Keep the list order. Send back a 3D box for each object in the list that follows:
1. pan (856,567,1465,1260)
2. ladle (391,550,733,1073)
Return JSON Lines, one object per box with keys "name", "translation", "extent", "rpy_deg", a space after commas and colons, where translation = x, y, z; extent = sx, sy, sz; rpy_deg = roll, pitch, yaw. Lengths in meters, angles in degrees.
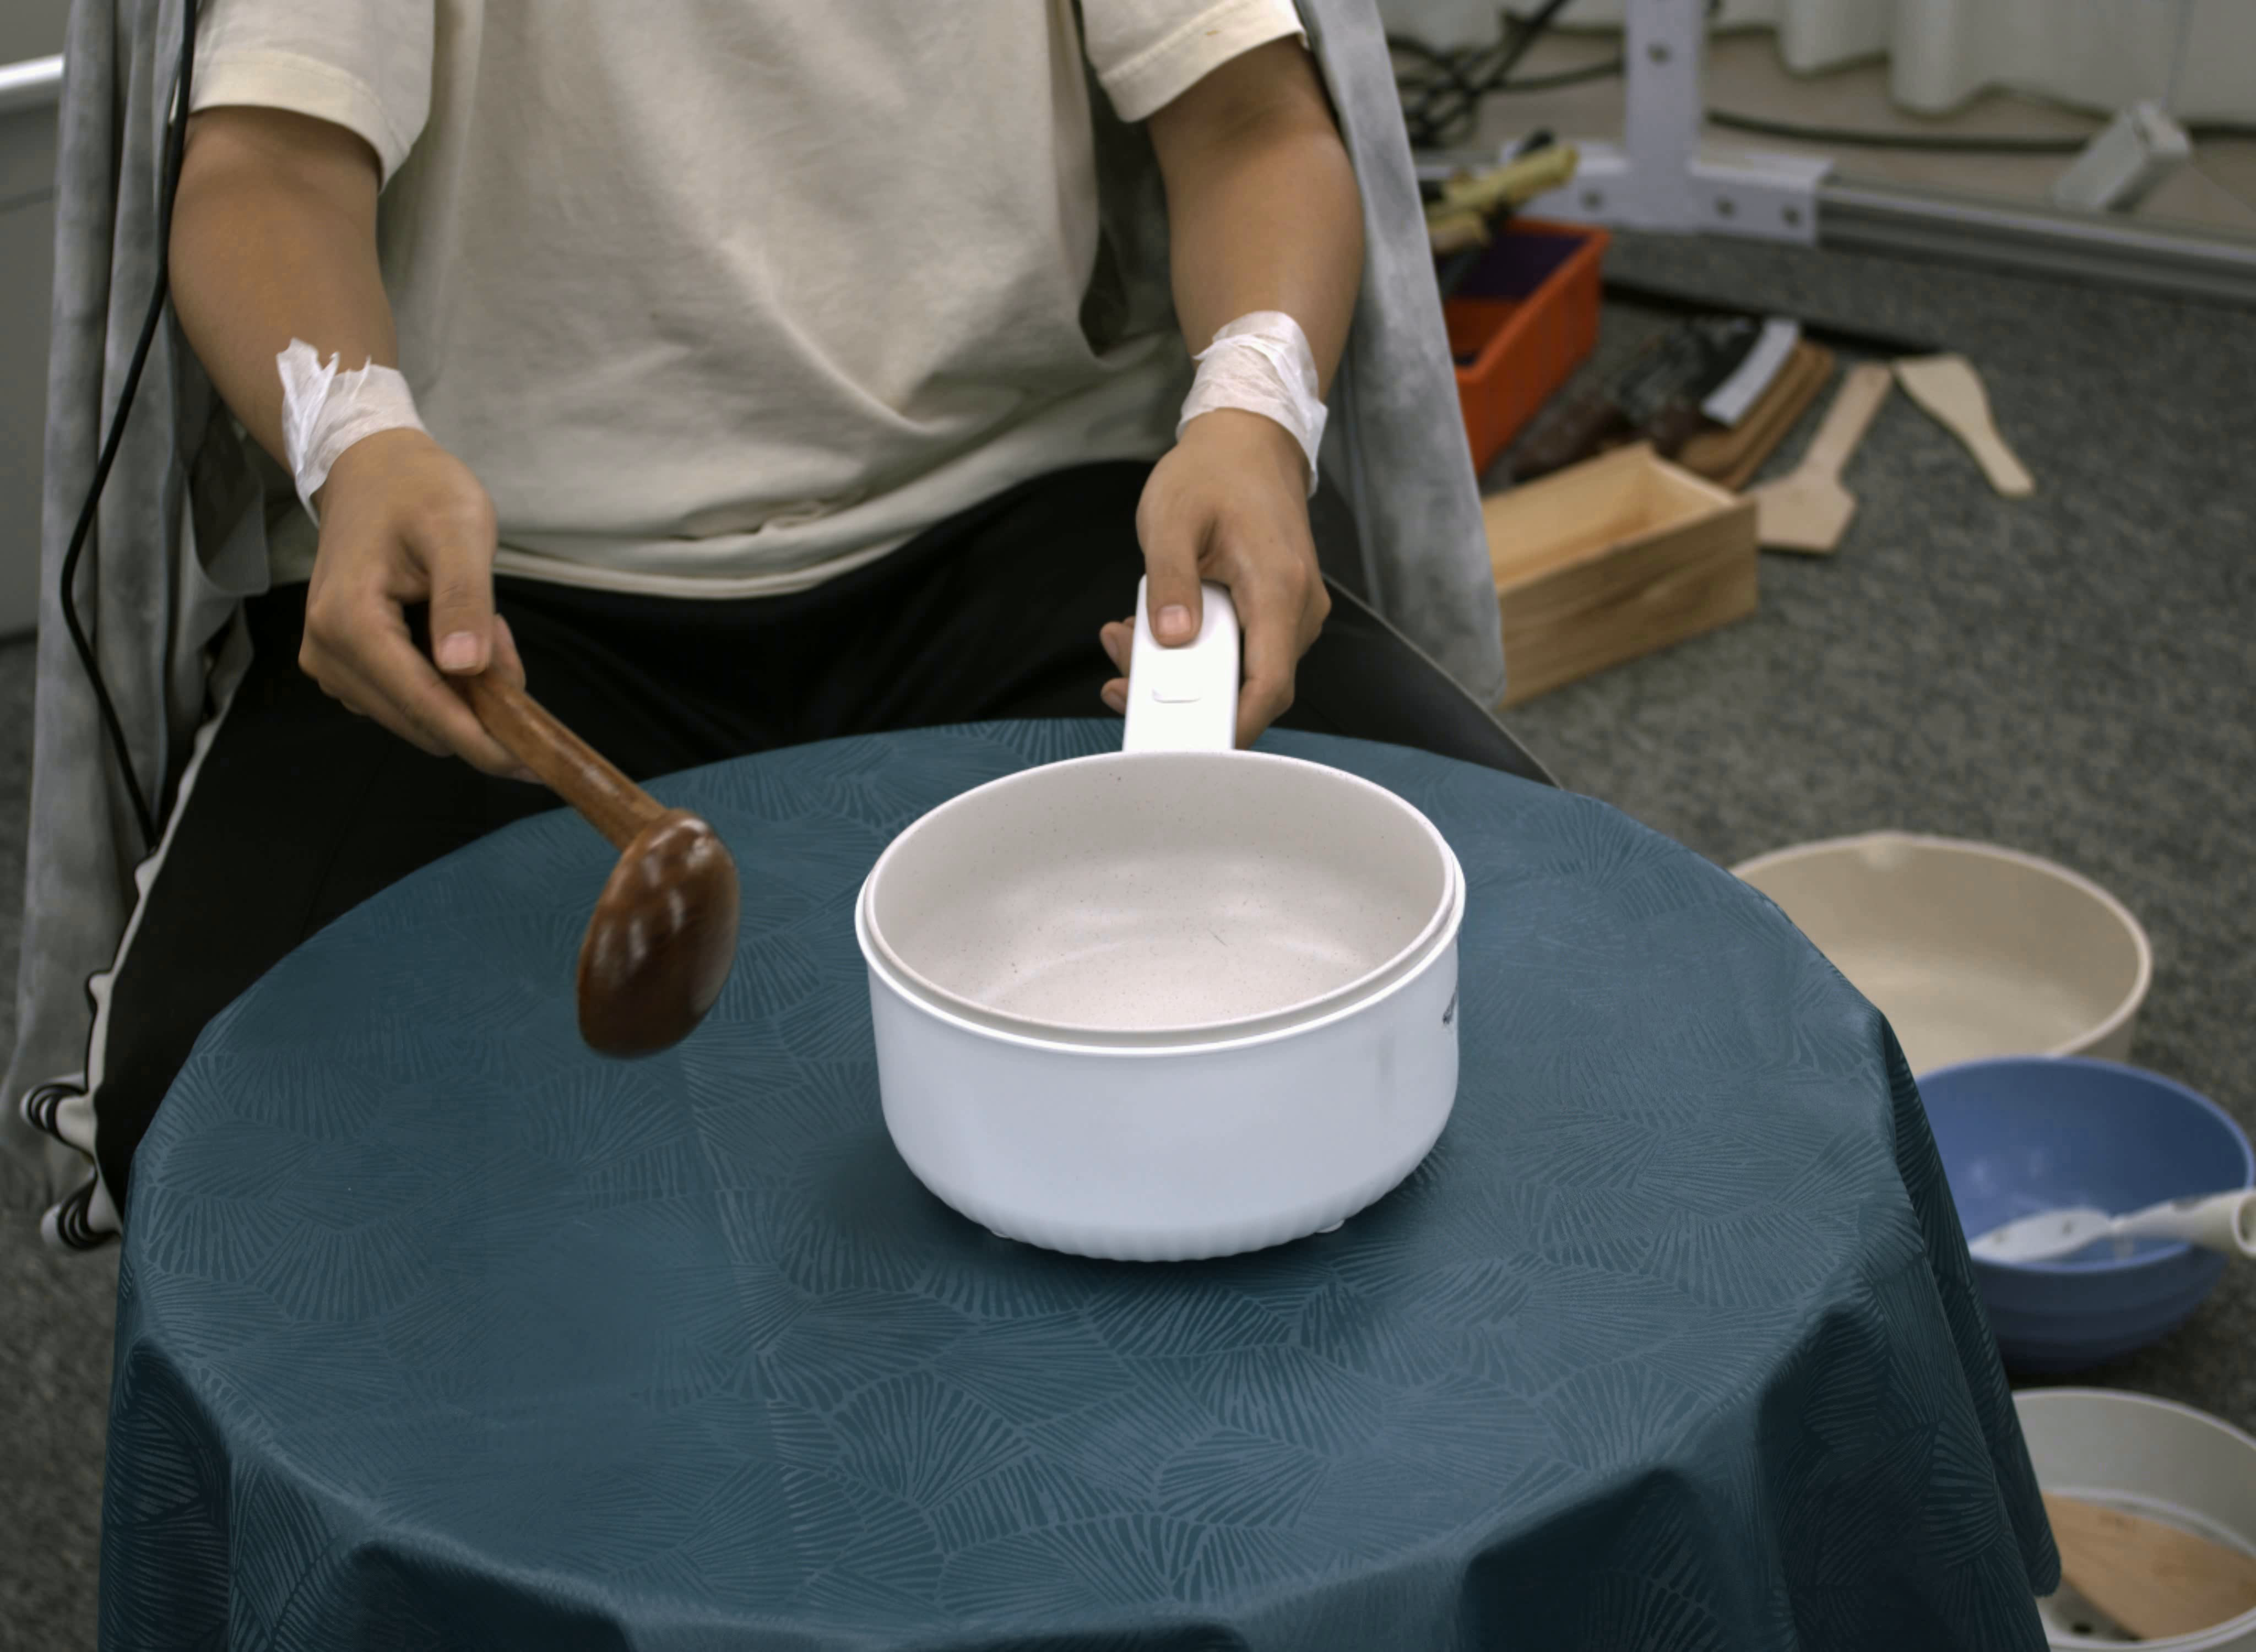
{"name": "pan", "translation": [0.018, 0.027, 1.934], "extent": [0.200, 0.101, 0.360], "rpy_deg": [-1, 27, 5]}
{"name": "ladle", "translation": [-0.203, -0.013, 1.809], "extent": [0.077, 0.081, 0.276], "rpy_deg": [-3, 30, -35]}
